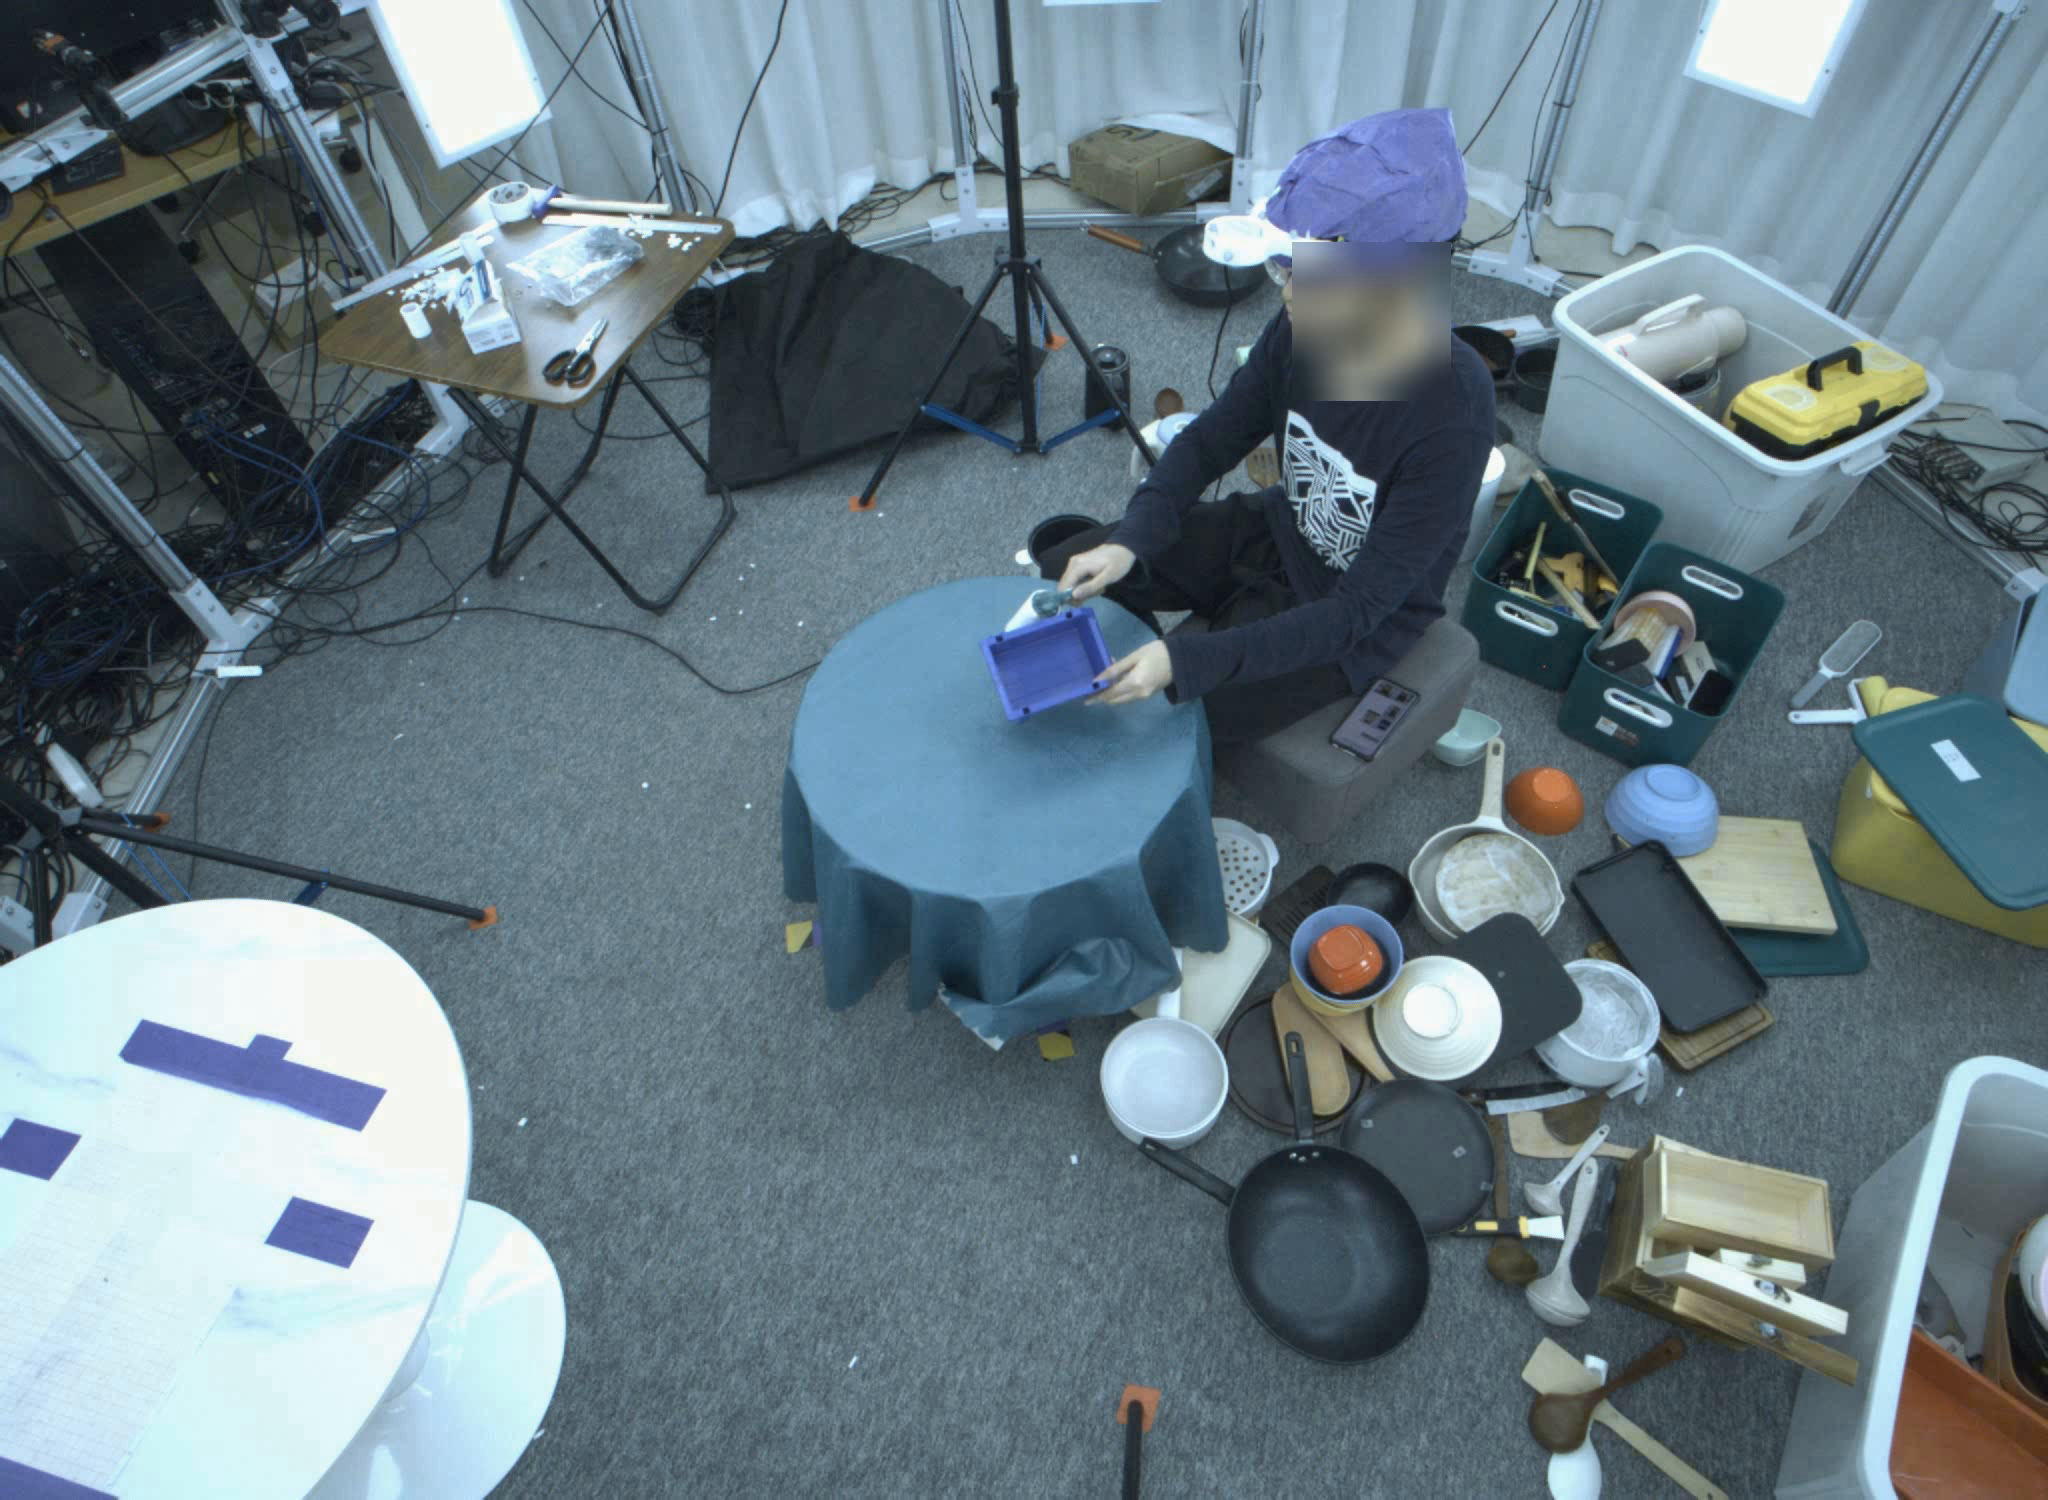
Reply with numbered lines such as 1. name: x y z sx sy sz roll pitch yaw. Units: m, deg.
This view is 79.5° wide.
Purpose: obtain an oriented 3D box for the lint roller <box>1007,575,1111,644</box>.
1. lint roller: 0.057 -0.226 1.814 0.048 0.133 0.181 48 59 1

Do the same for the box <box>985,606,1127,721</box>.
1. box: 0.046 -0.126 1.751 0.180 0.082 0.124 -18 85 -6
